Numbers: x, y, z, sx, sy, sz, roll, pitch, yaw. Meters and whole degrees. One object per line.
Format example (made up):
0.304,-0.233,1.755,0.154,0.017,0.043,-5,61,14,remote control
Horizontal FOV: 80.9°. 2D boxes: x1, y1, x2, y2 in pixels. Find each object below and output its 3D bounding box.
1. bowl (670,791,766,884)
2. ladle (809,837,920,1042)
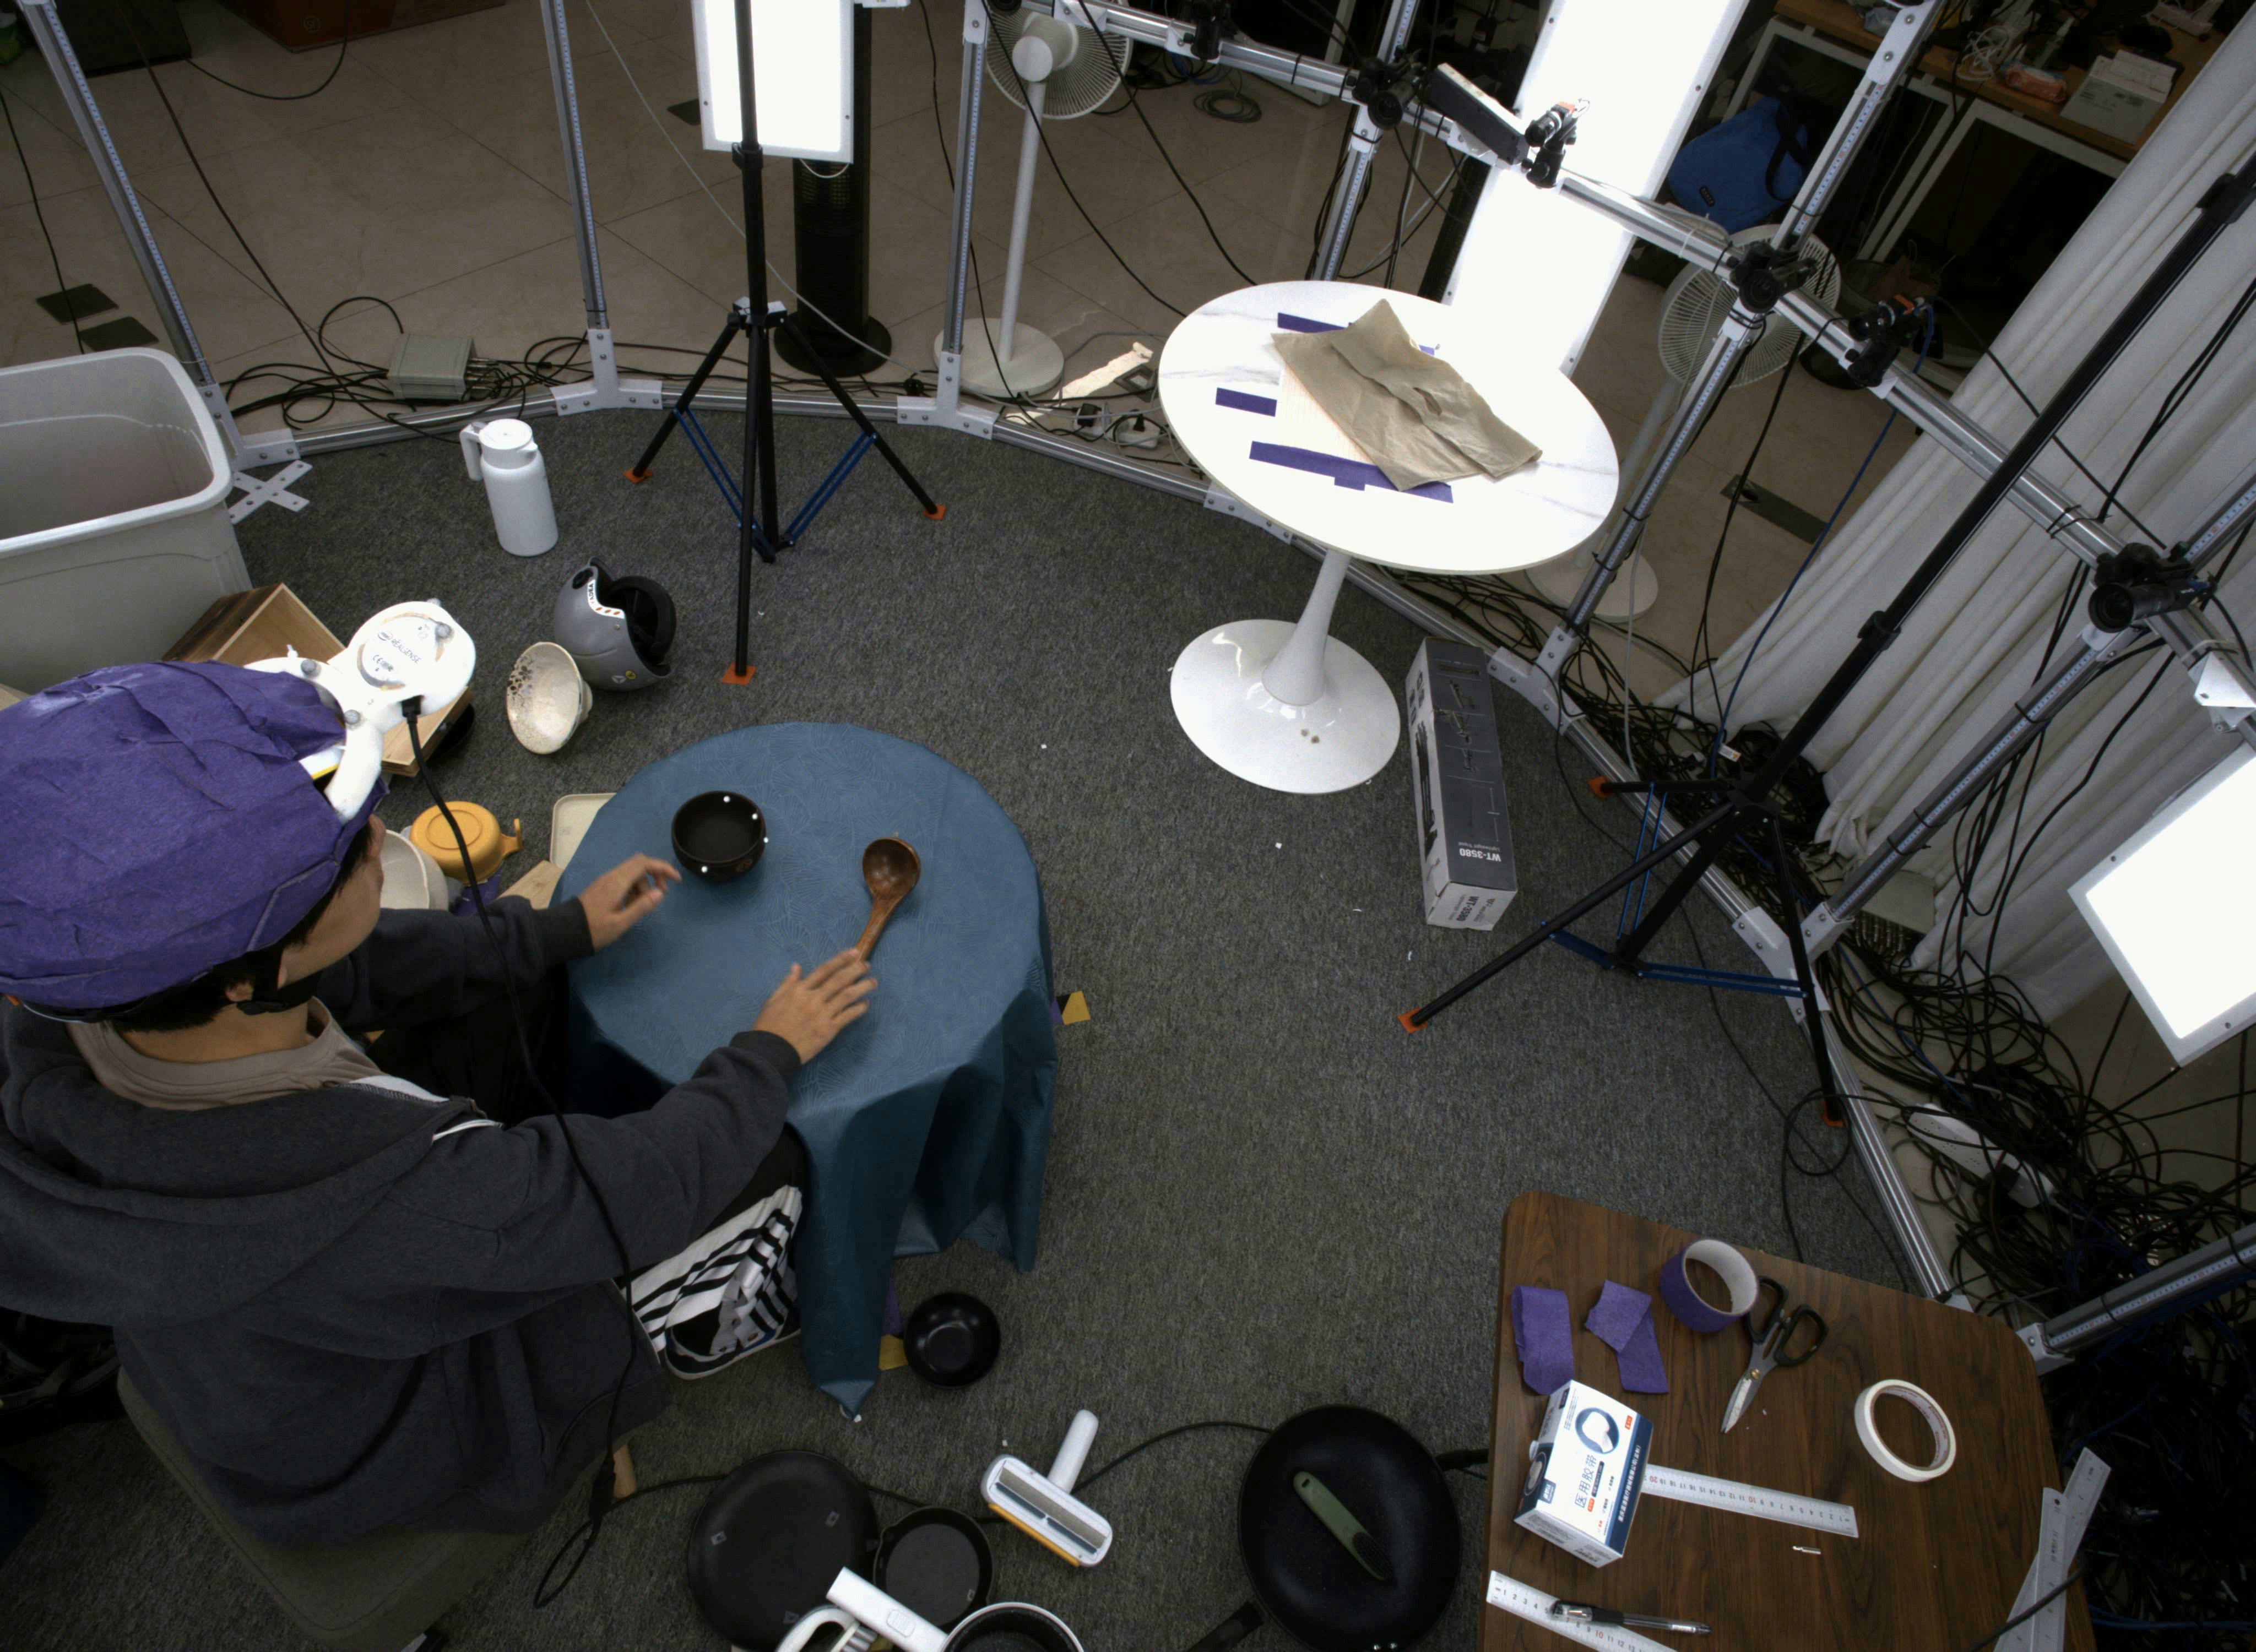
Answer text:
-0.519,0.021,1.640,0.118,0.071,0.116,7,53,-8,bowl
-0.334,0.131,1.604,0.079,0.079,0.271,6,49,20,ladle
